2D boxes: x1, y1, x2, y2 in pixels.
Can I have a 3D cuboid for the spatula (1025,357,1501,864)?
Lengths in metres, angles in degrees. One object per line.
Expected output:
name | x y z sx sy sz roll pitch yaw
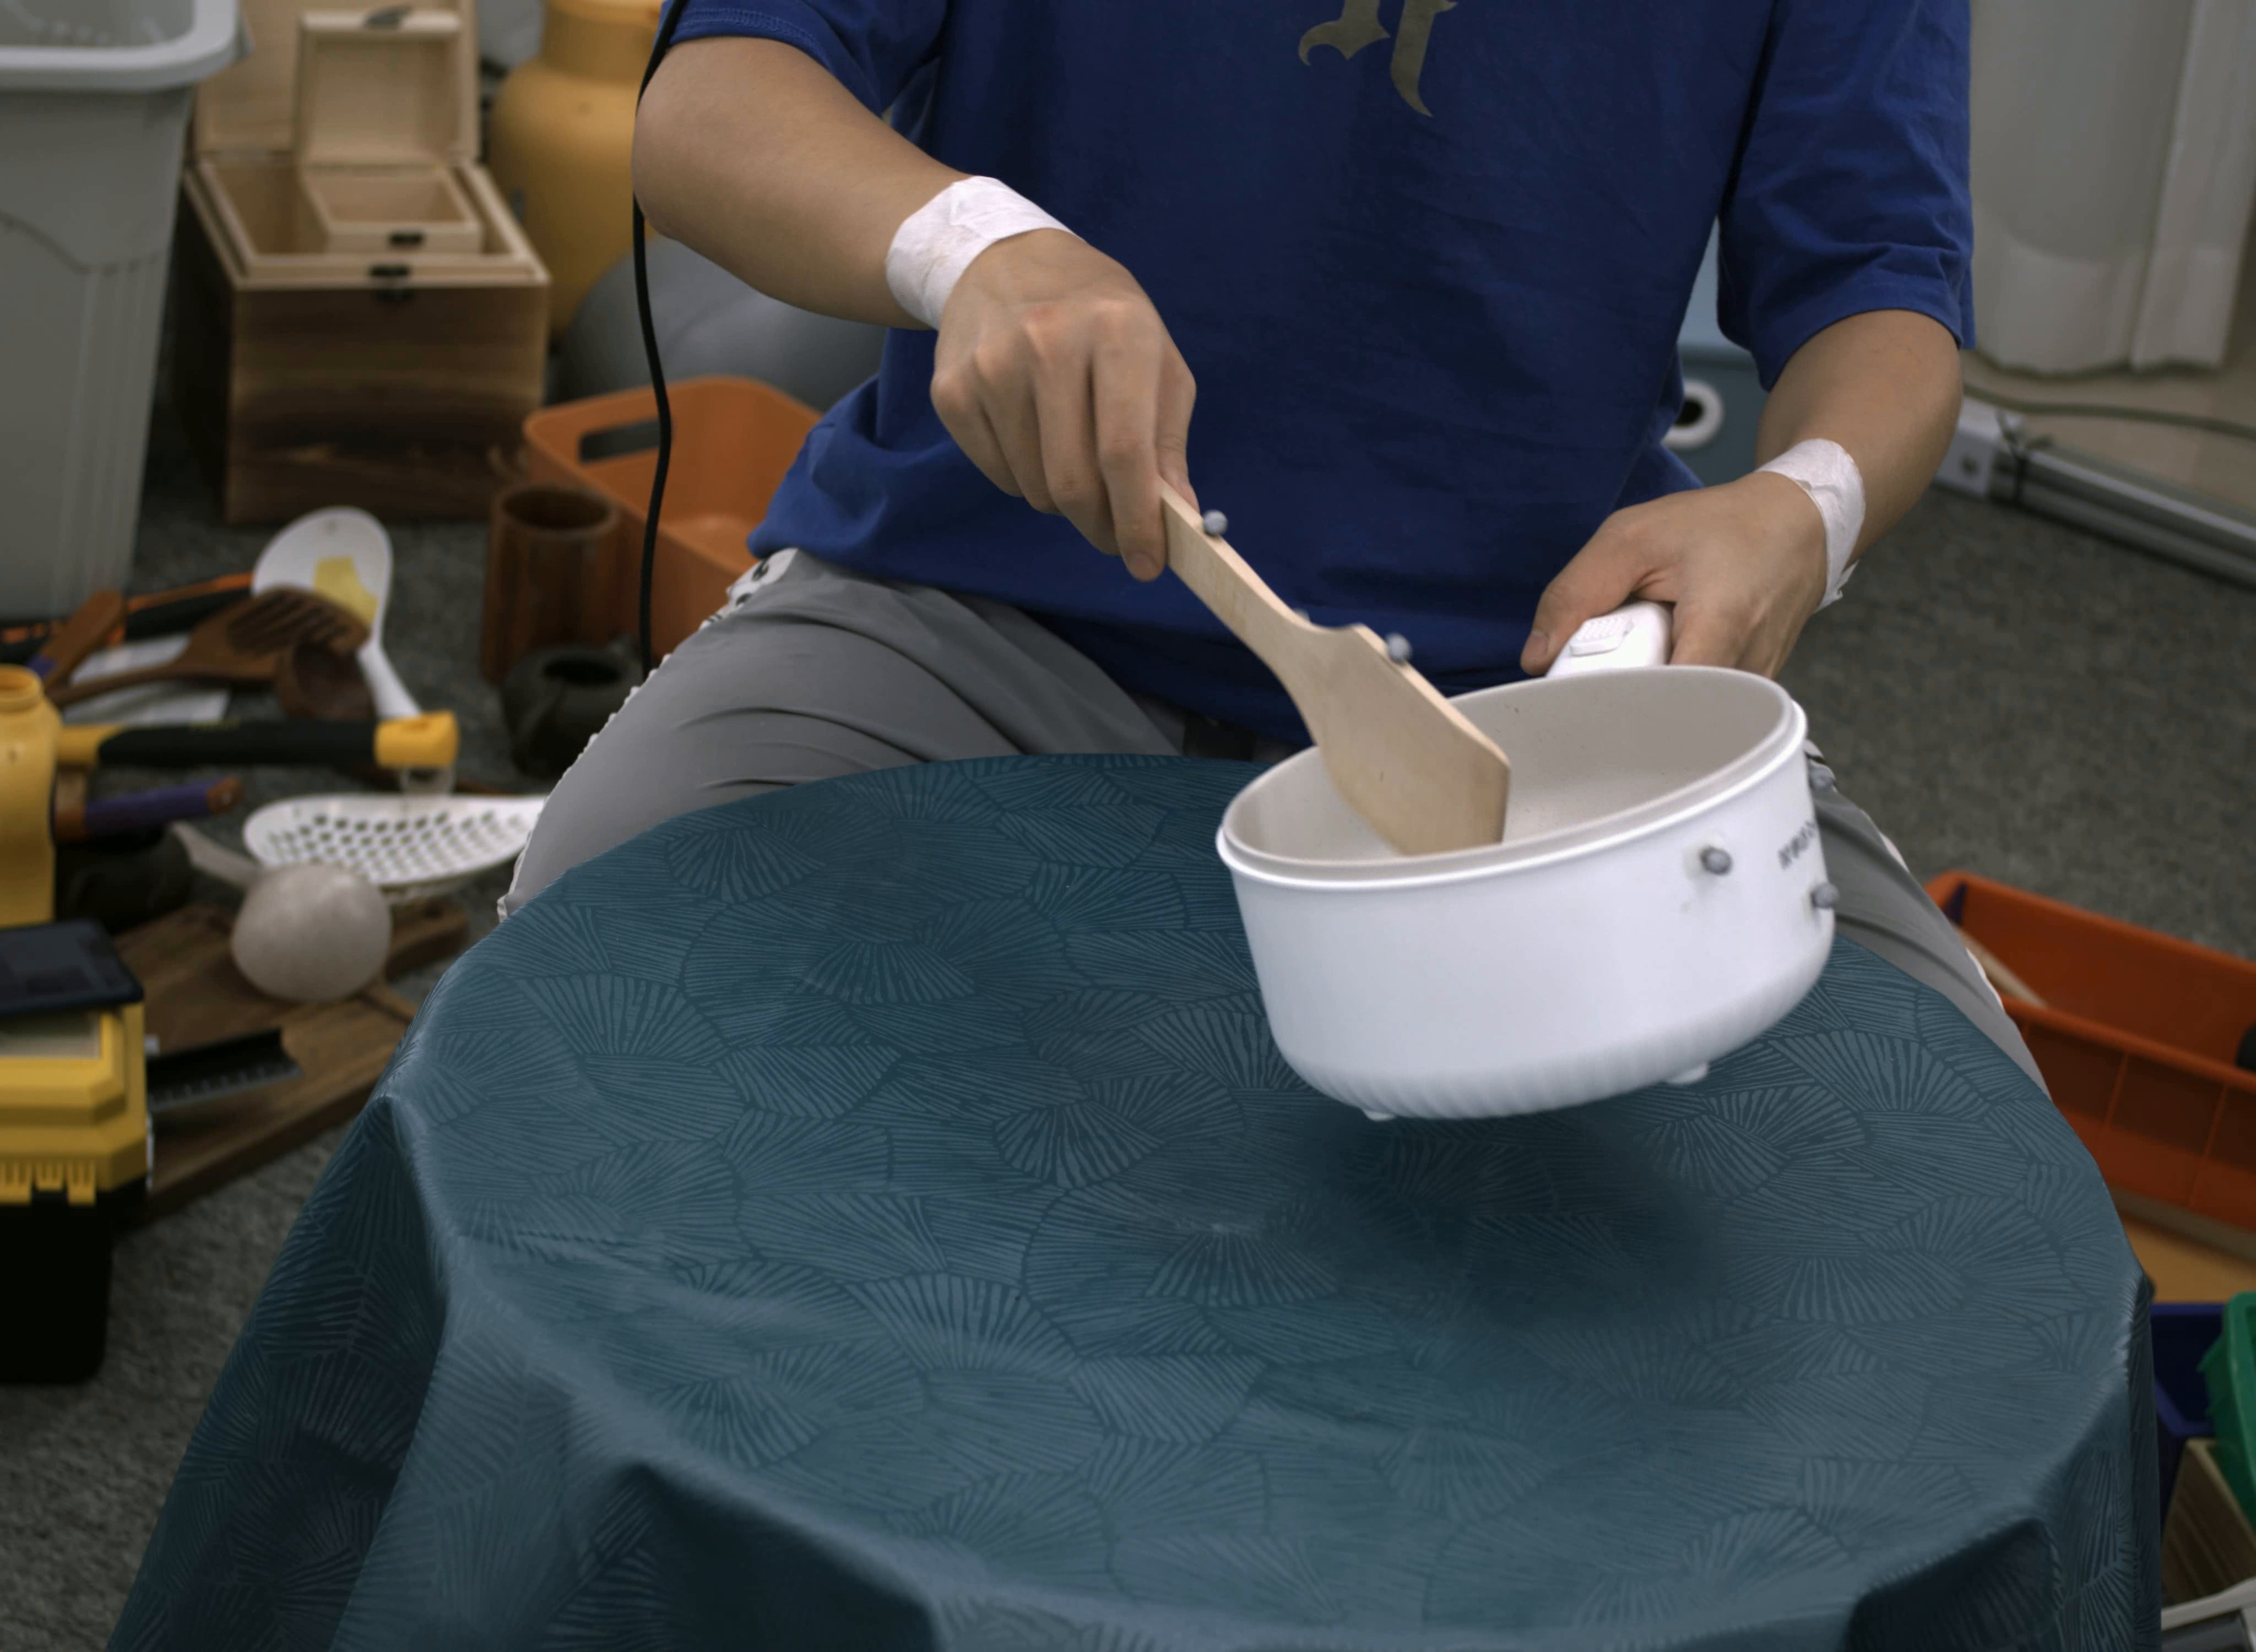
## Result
spatula | 0.039 -0.077 1.824 0.010 0.072 0.296 -14 43 -29

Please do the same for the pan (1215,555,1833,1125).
pan | 0.158 0.001 1.861 0.201 0.102 0.355 -11 15 20
